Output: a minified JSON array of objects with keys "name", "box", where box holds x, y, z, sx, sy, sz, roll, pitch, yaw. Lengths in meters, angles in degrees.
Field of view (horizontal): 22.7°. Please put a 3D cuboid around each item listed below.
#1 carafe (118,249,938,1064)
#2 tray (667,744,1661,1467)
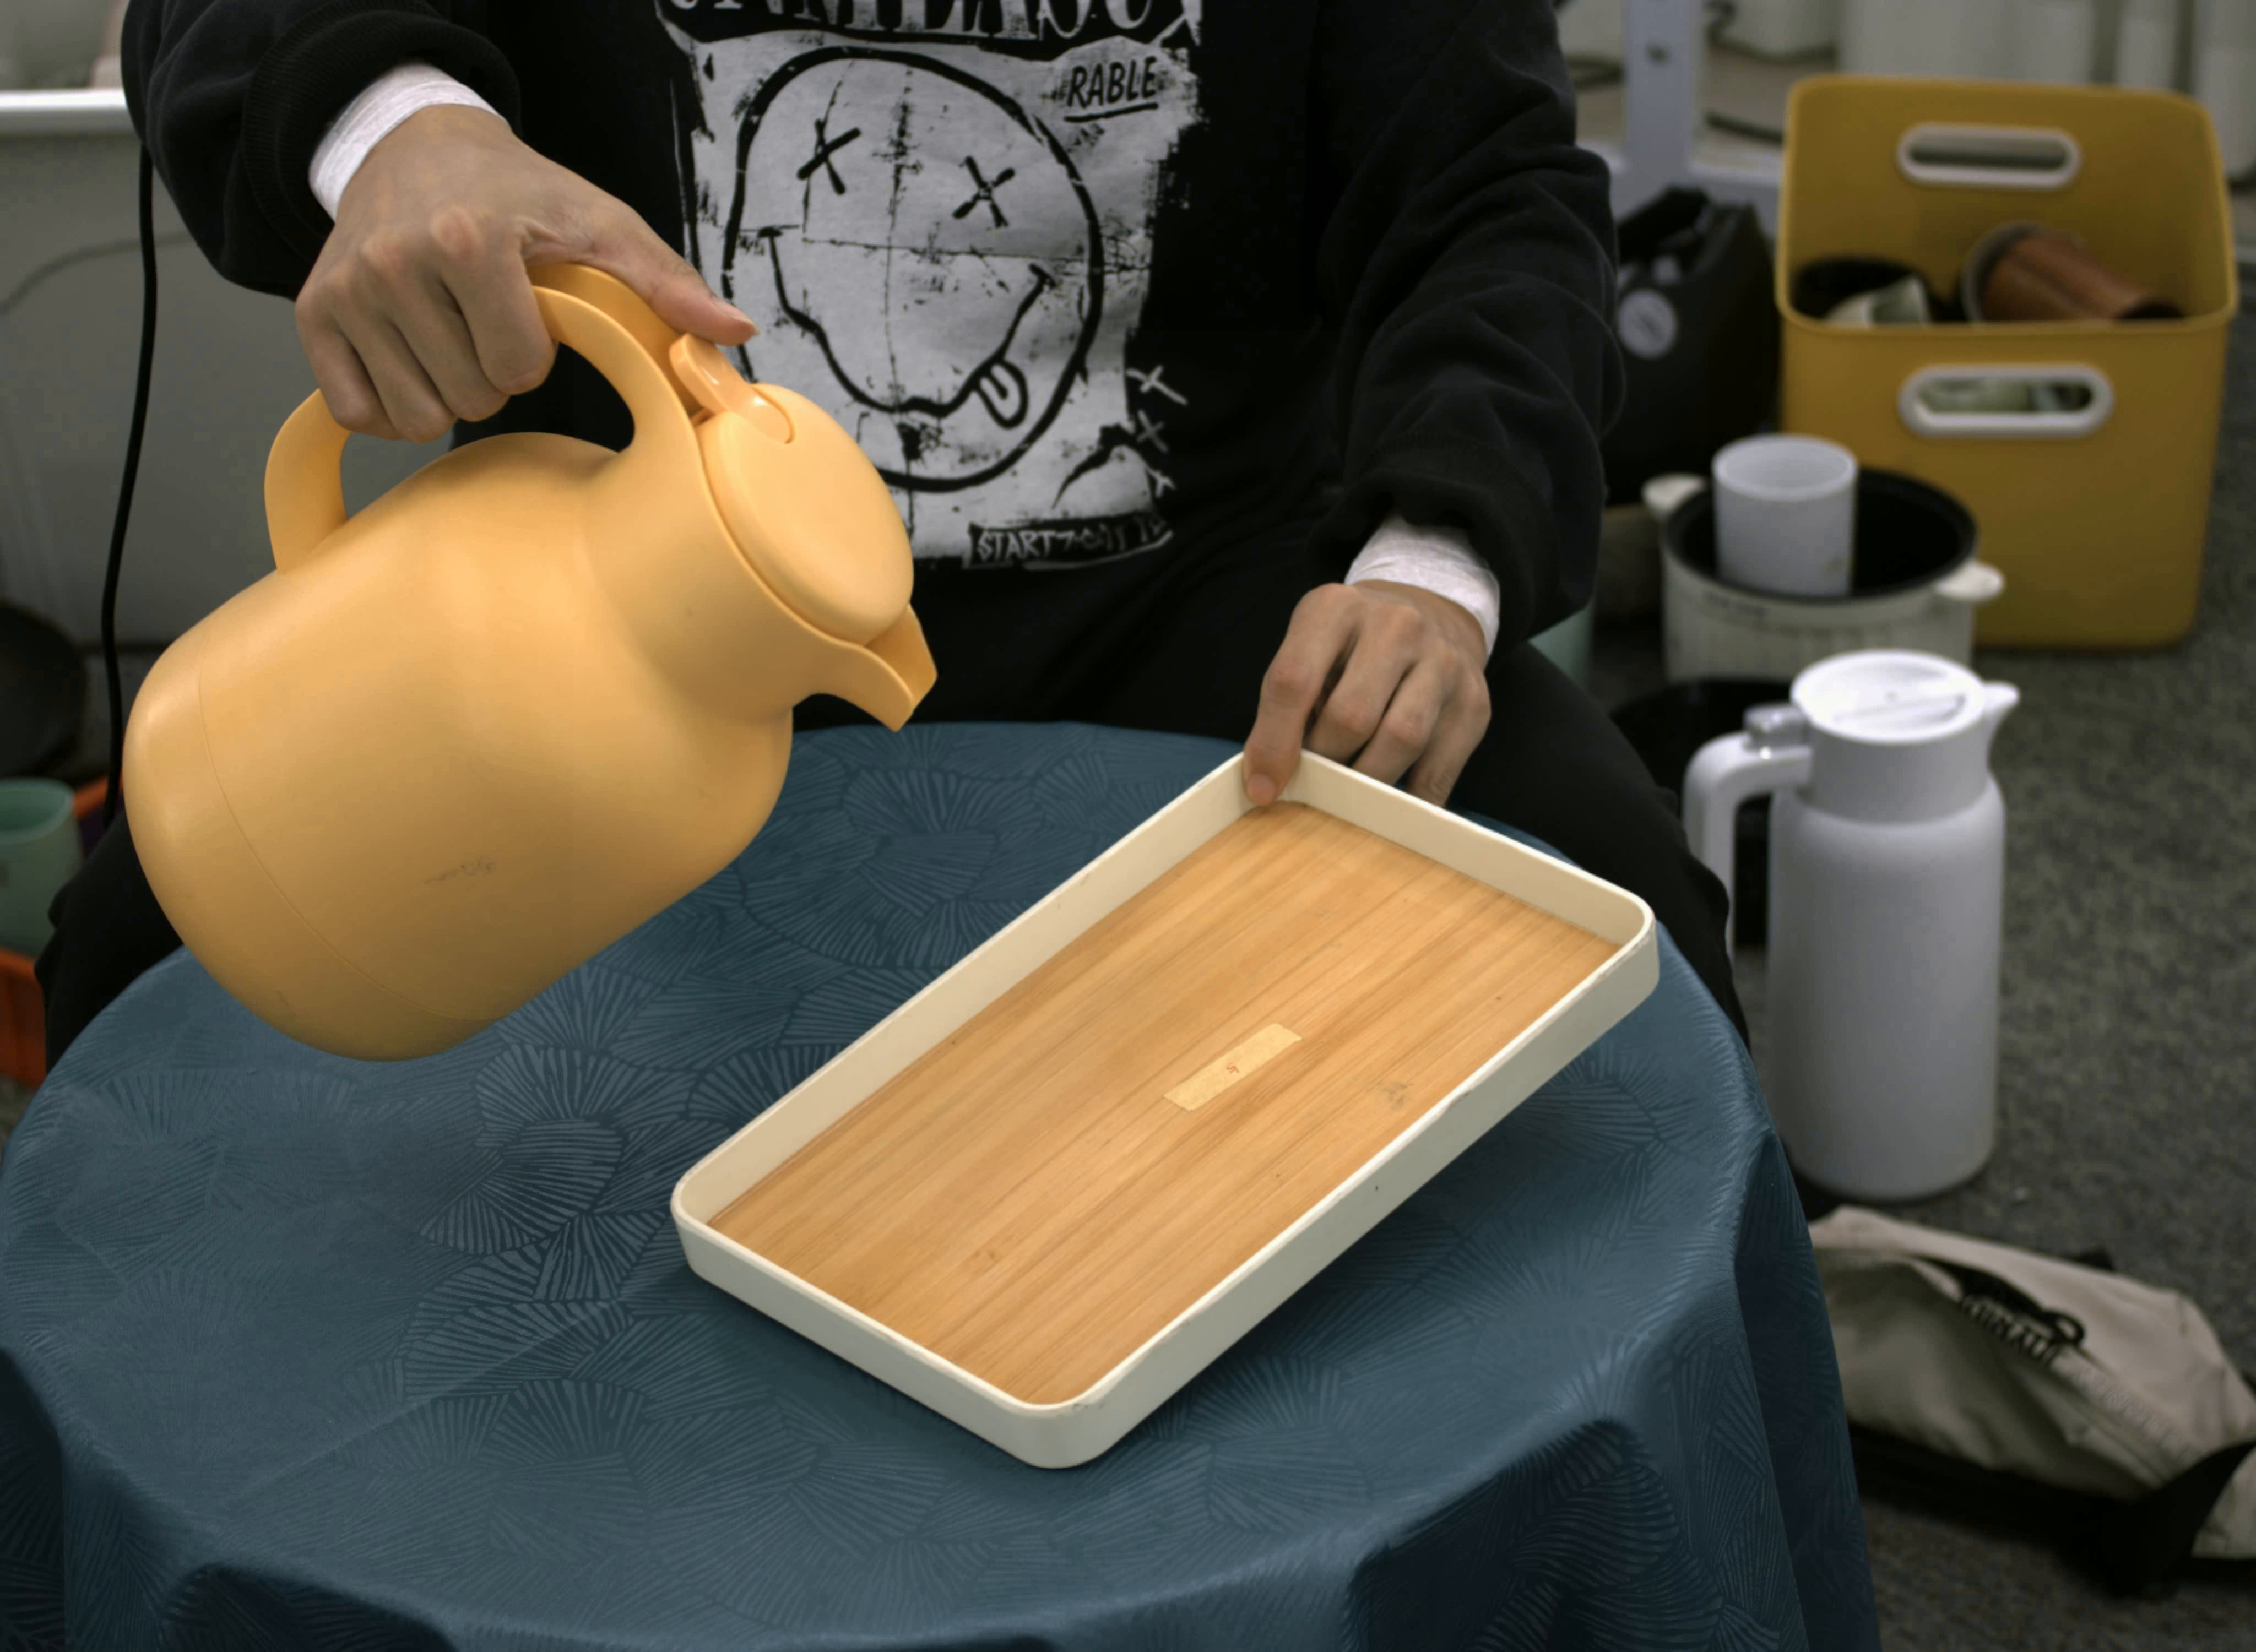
[{"name":"carafe","box":[-0.199,-0.060,1.799,0.257,0.202,0.166,-32,8,22]},{"name":"tray","box":[0.014,0.084,1.840,0.191,0.027,0.304,24,48,38]}]
